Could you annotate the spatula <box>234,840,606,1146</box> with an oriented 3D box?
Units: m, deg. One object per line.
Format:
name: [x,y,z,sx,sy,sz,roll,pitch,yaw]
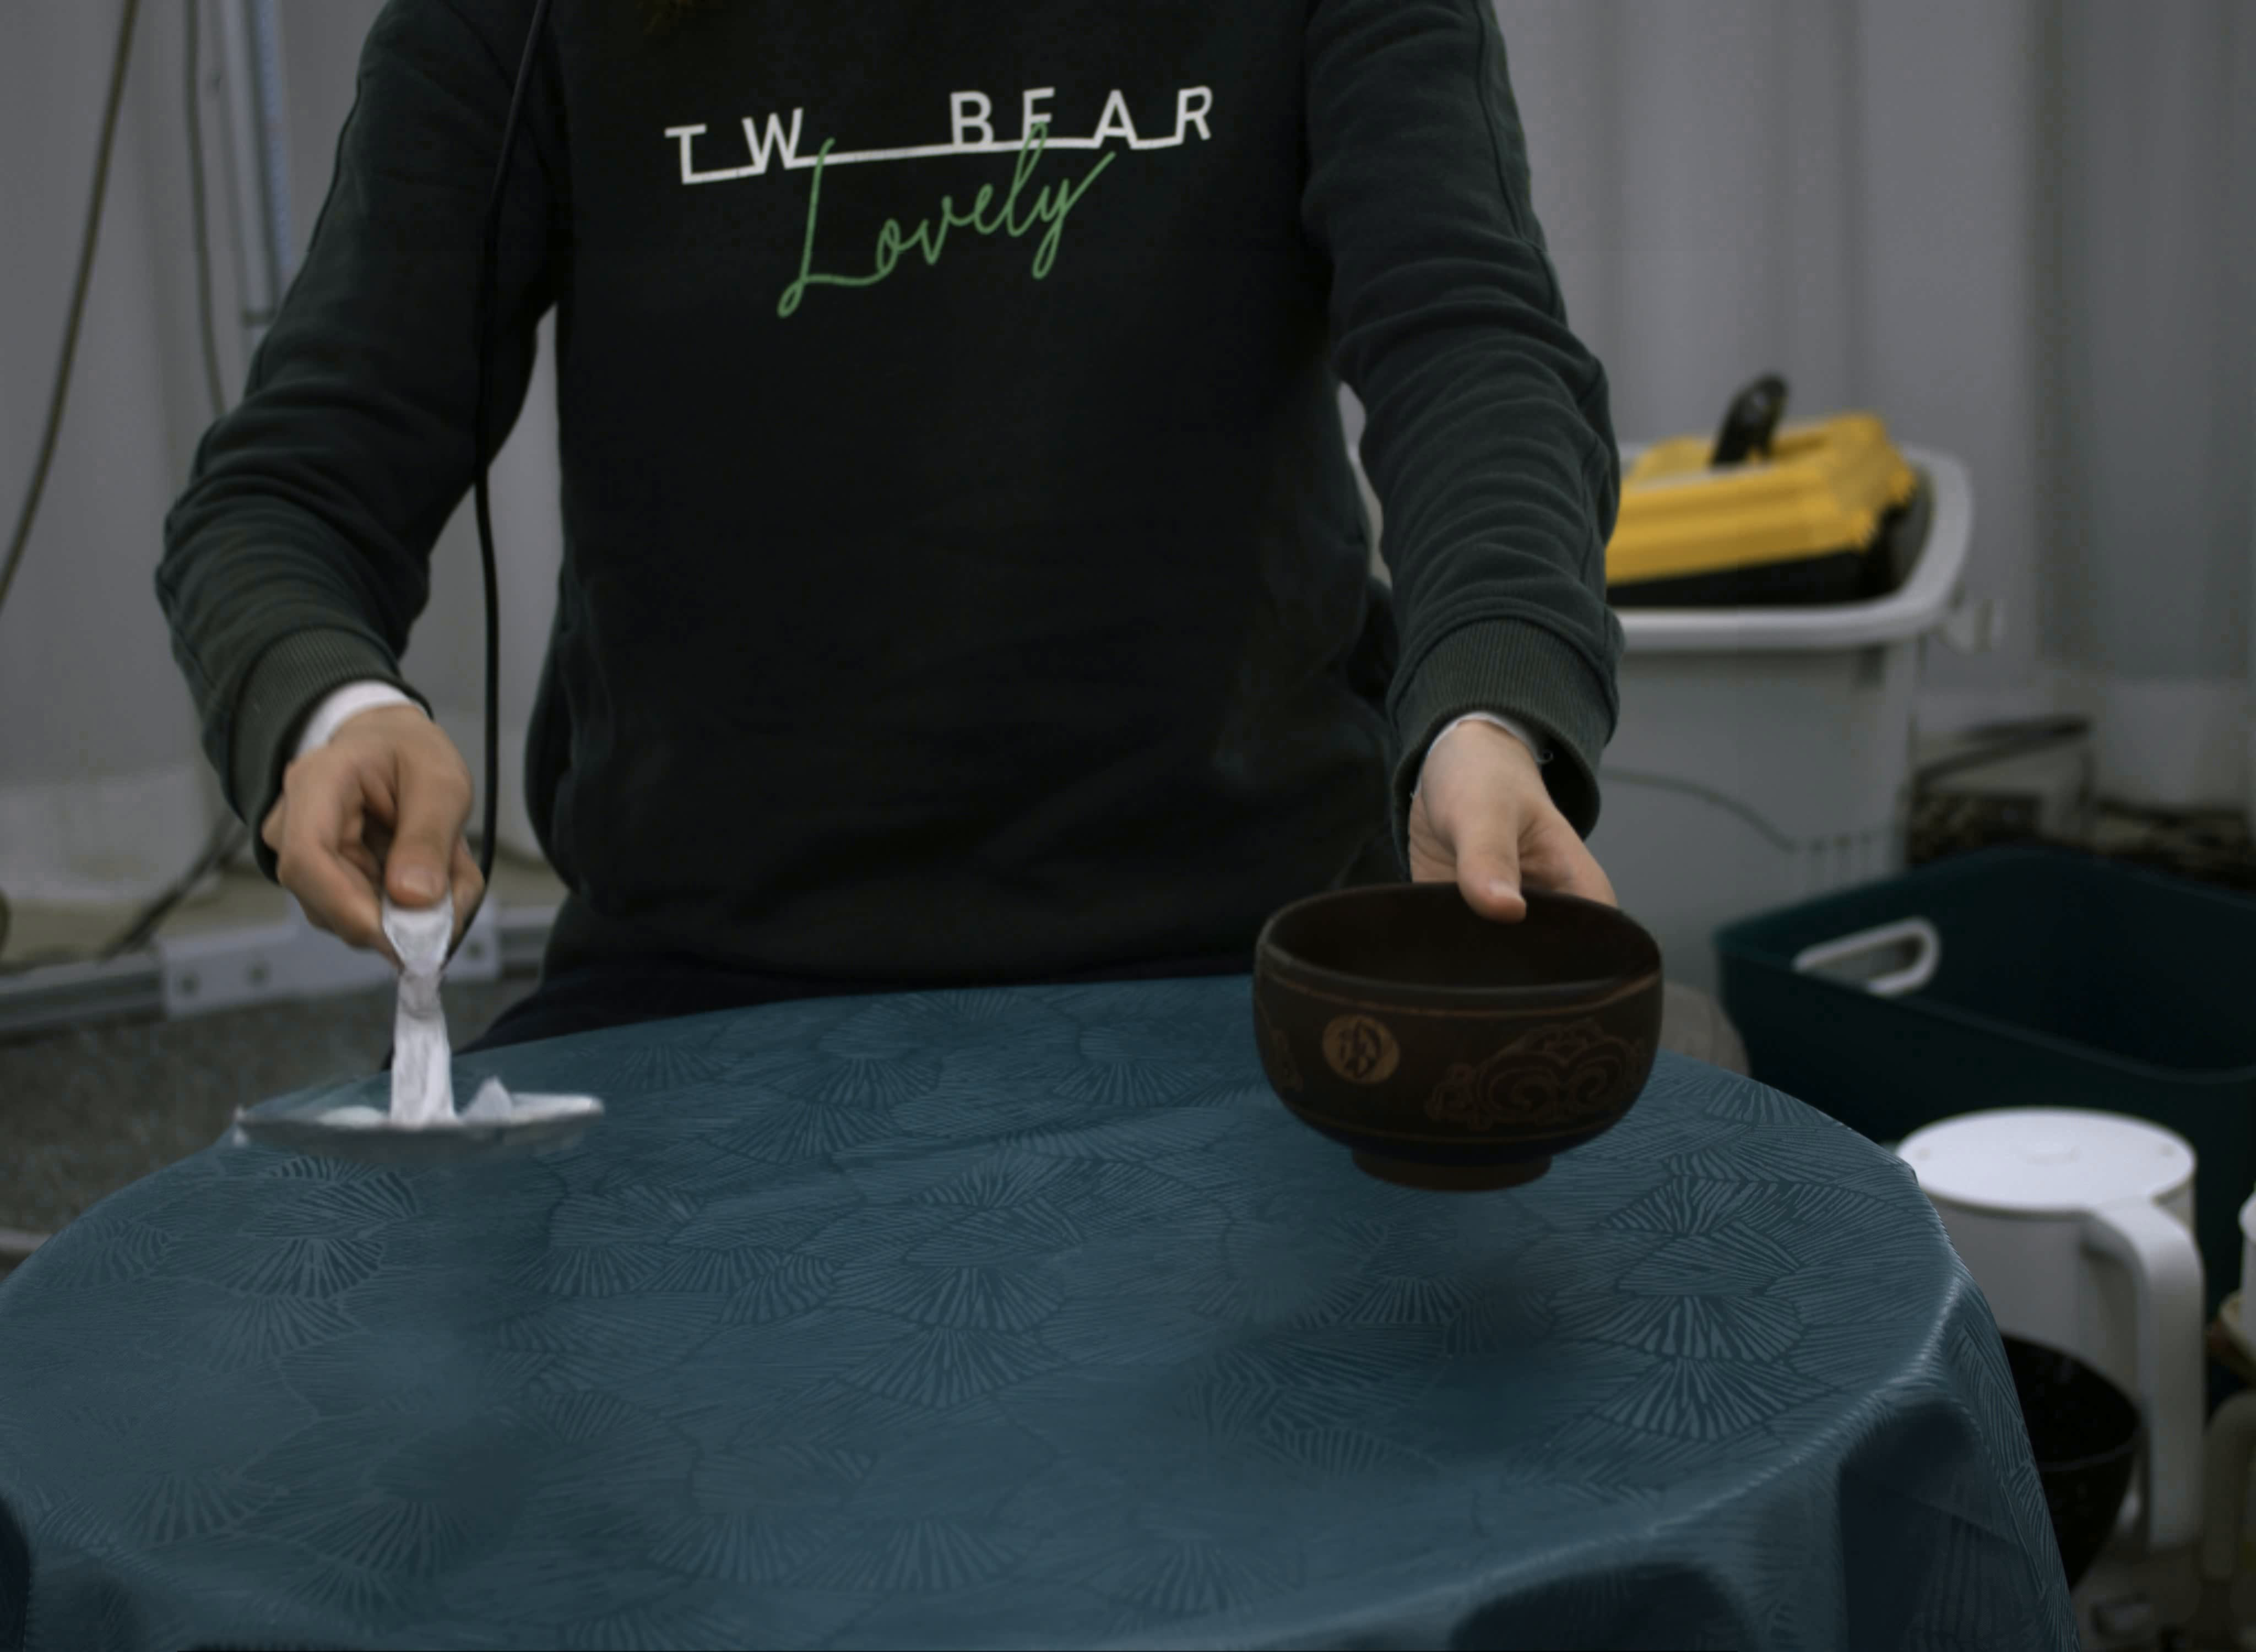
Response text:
spatula: [-0.204,0.039,1.595,0.098,0.044,0.368,-3,16,-6]

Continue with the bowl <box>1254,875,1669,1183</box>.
bowl: [0.094,0.061,1.562,0.117,0.069,0.119,3,12,-1]
